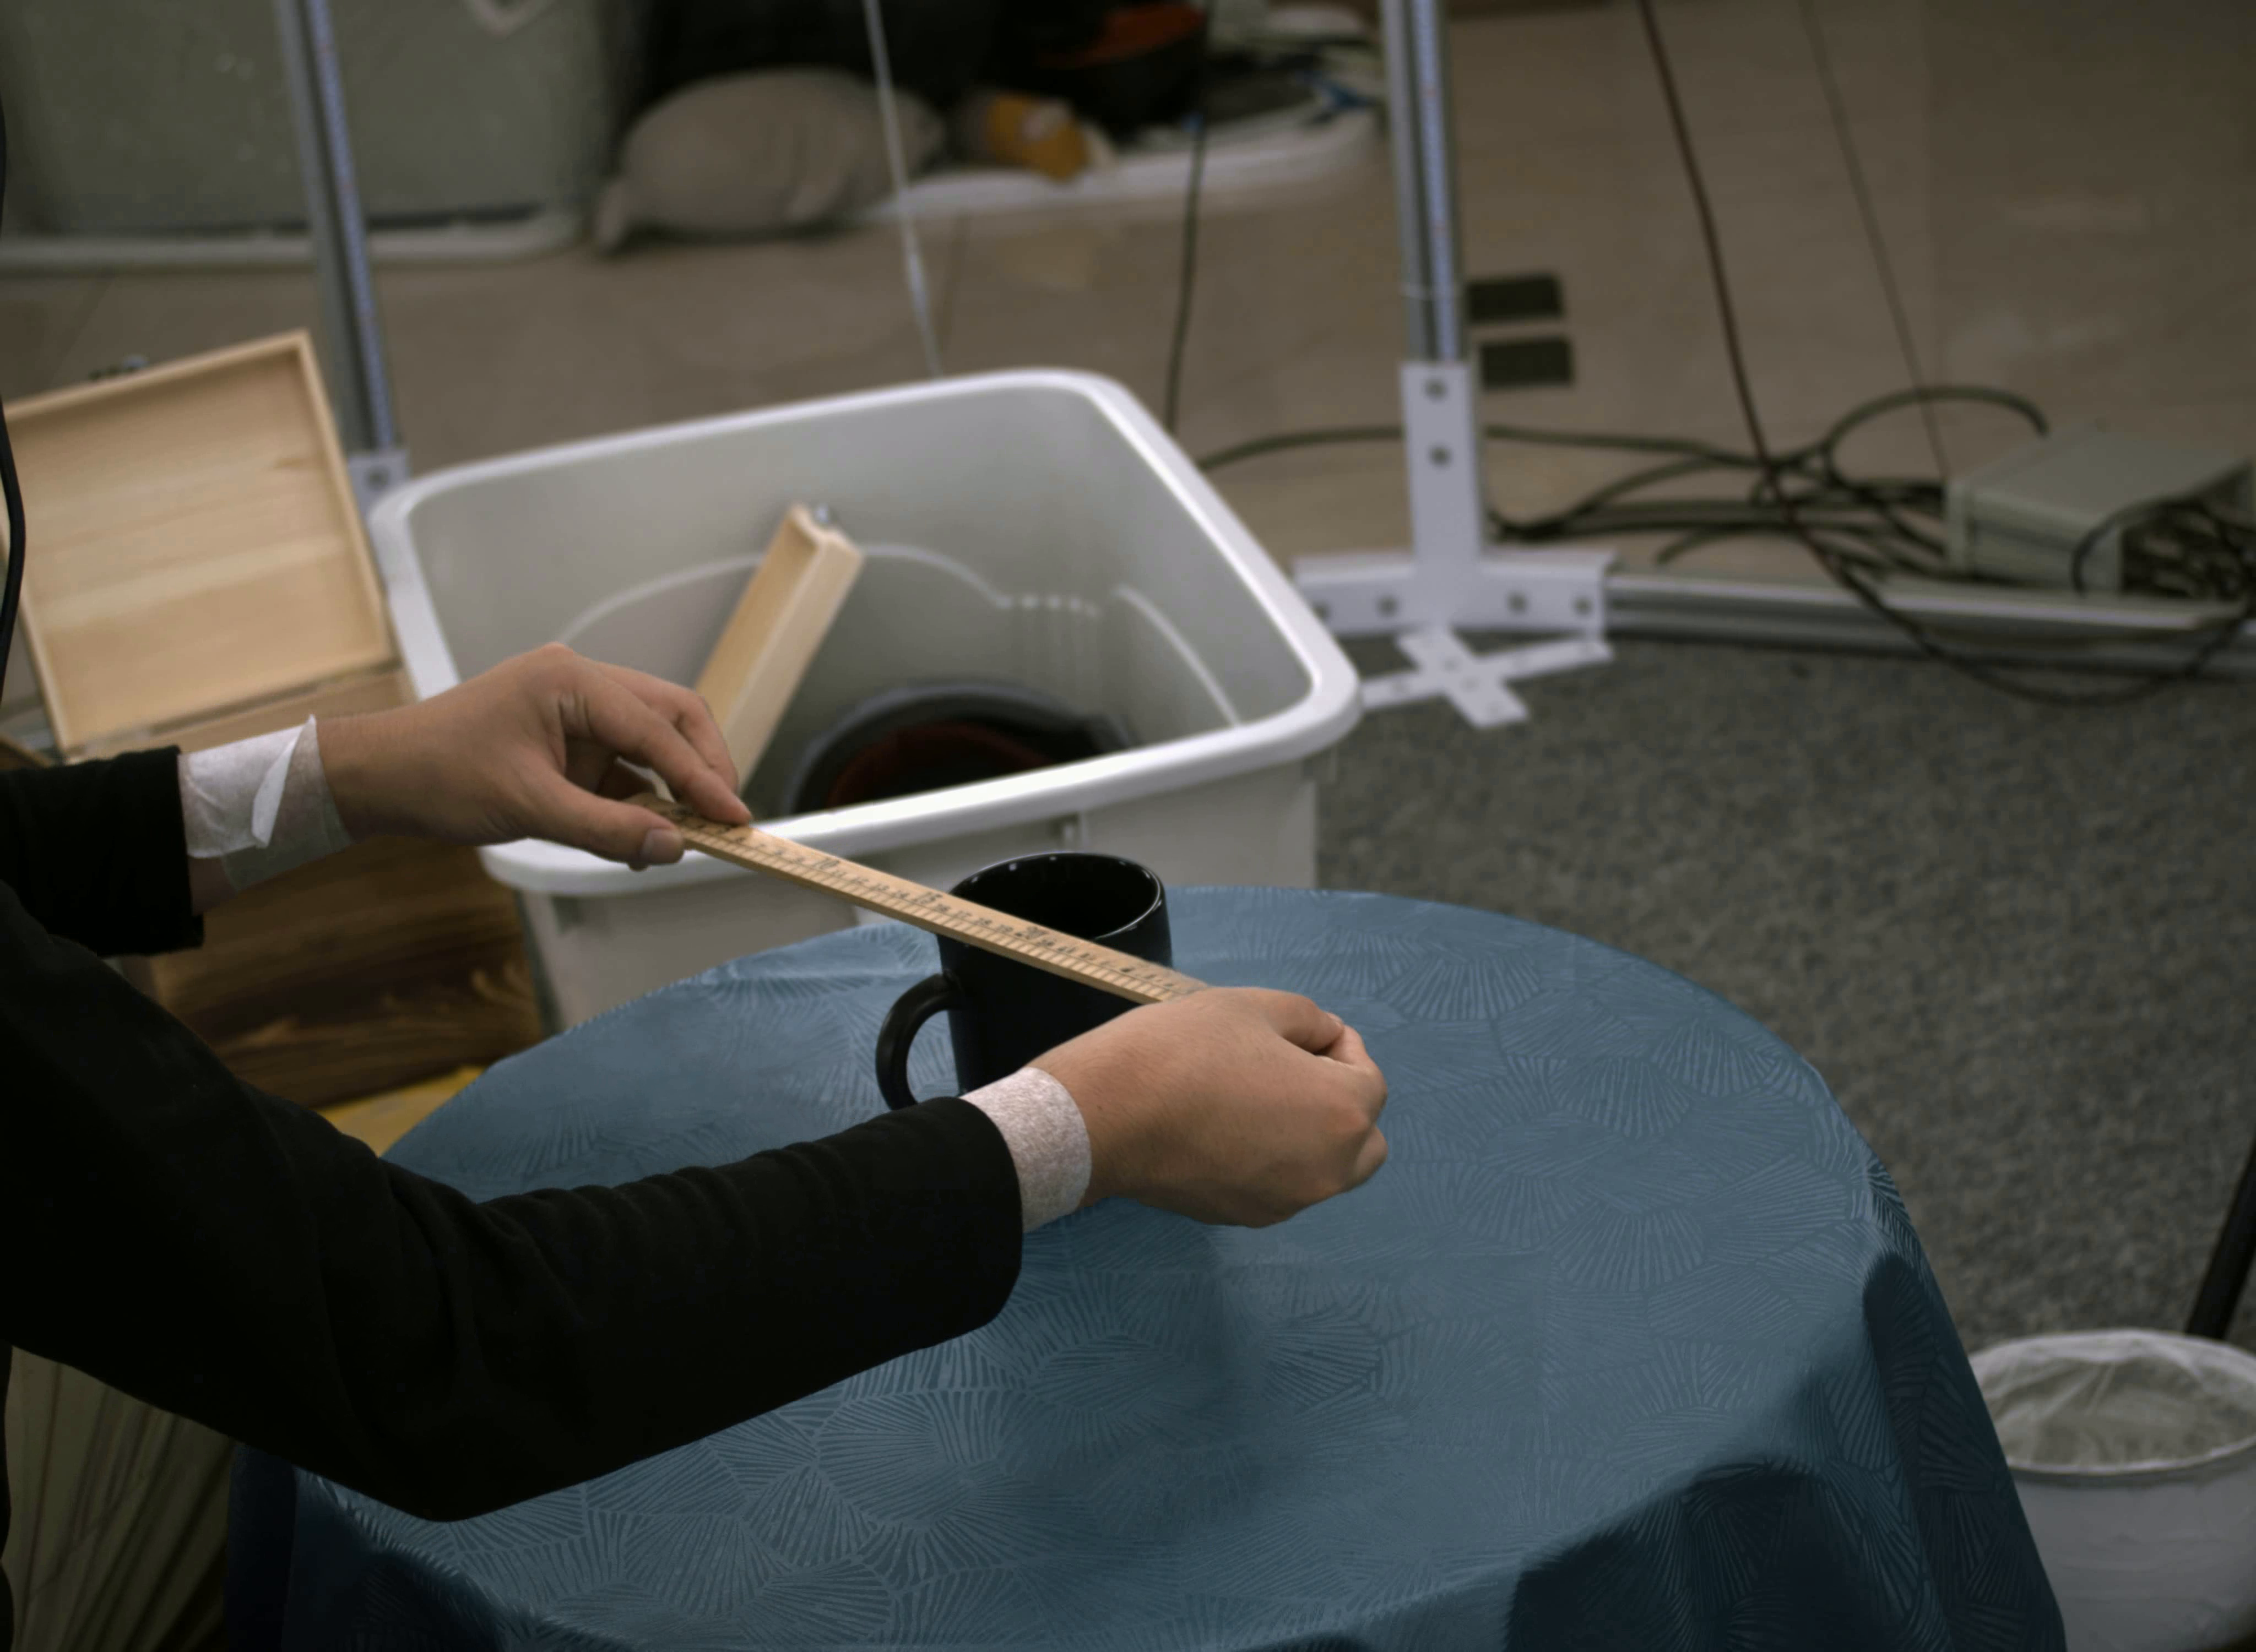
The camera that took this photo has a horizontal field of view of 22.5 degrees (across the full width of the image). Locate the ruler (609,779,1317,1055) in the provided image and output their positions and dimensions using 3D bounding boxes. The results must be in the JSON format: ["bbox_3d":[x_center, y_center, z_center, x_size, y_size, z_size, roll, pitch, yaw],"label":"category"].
[{"bbox_3d":[-0.067,0.029,2.111,0.329,0.022,0.027,19,24,35],"label":"ruler"}]

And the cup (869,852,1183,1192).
[{"bbox_3d":[-0.041,0.079,2.163,0.123,0.107,0.087,-16,29,-21],"label":"cup"}]
